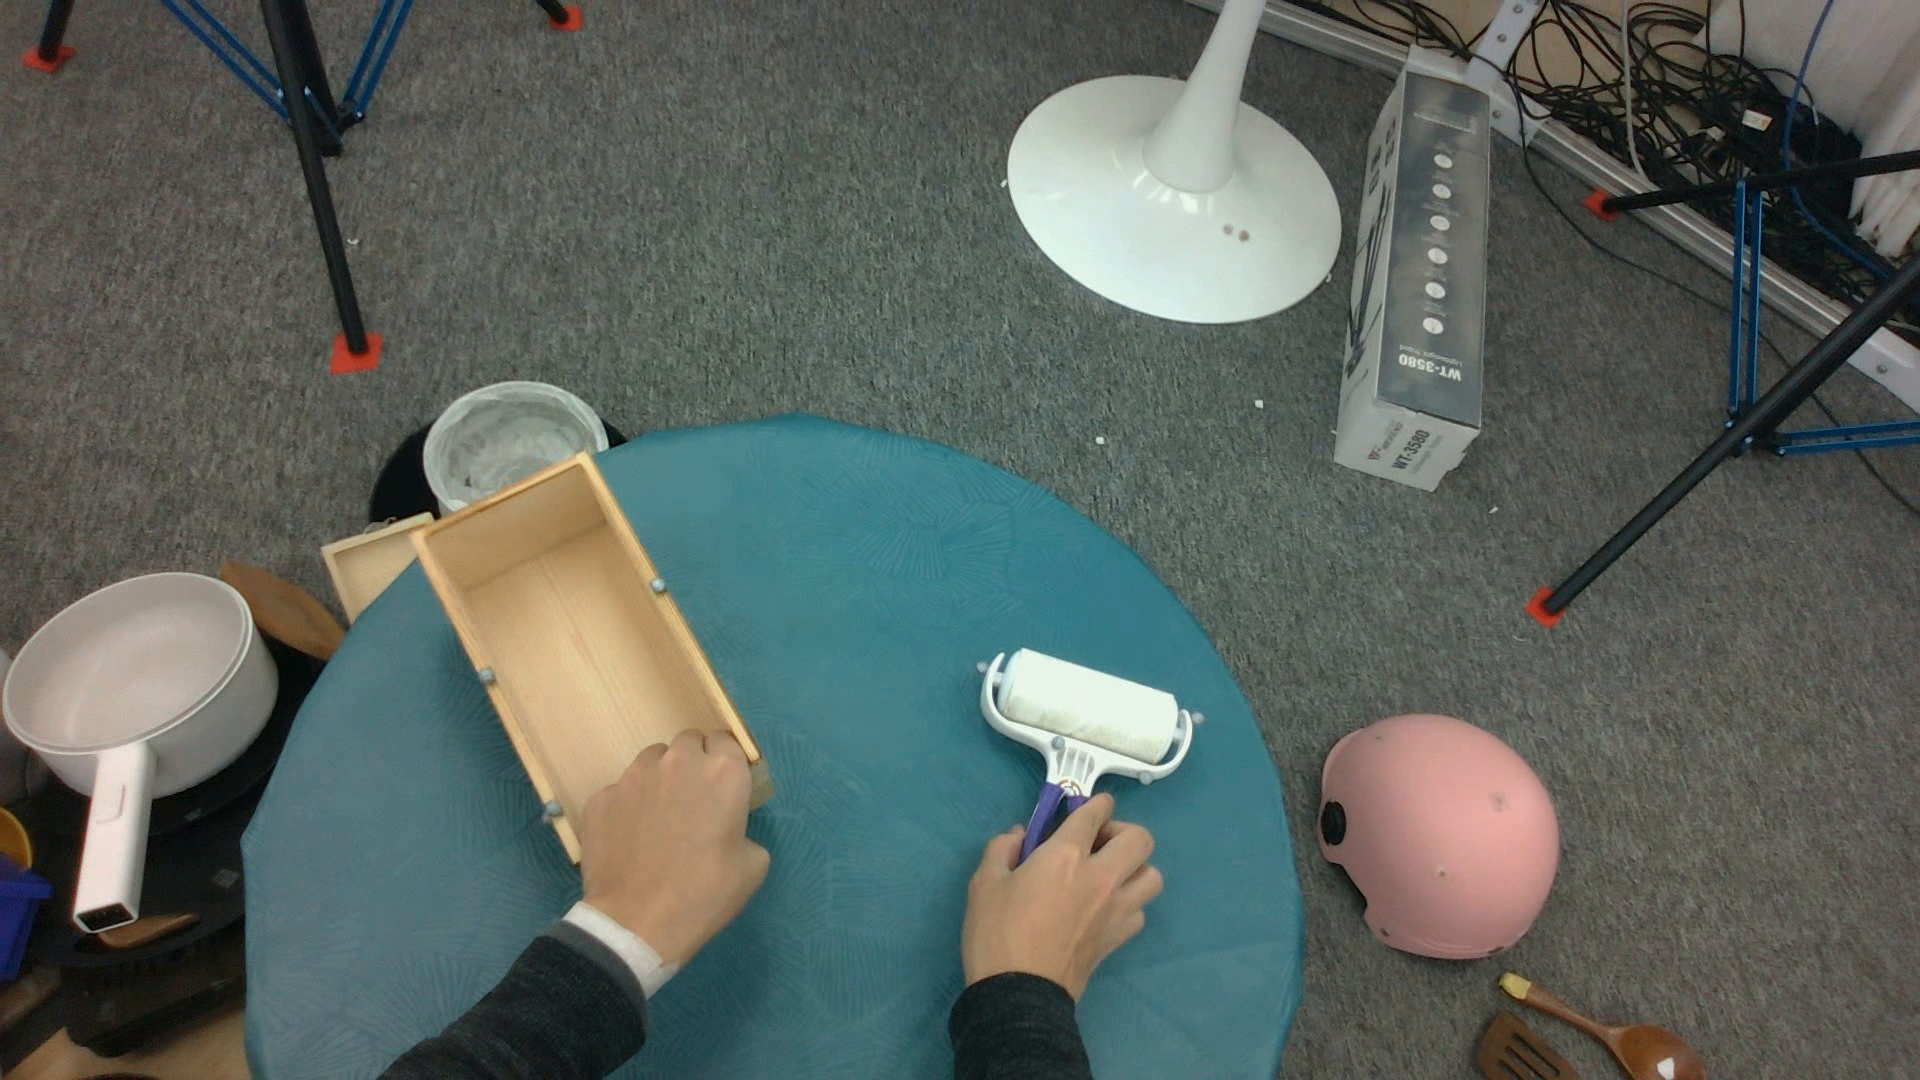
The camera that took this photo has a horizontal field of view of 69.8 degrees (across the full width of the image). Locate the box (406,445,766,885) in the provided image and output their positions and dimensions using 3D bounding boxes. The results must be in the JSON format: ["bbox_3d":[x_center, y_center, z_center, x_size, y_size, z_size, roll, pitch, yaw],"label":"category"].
[{"bbox_3d":[-0.208,0.067,0.770,0.108,0.080,0.211,-29,70,-17],"label":"box"}]

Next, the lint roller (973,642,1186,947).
[{"bbox_3d":[0.058,0.148,0.811,0.133,0.050,0.182,19,50,0],"label":"lint roller"}]
